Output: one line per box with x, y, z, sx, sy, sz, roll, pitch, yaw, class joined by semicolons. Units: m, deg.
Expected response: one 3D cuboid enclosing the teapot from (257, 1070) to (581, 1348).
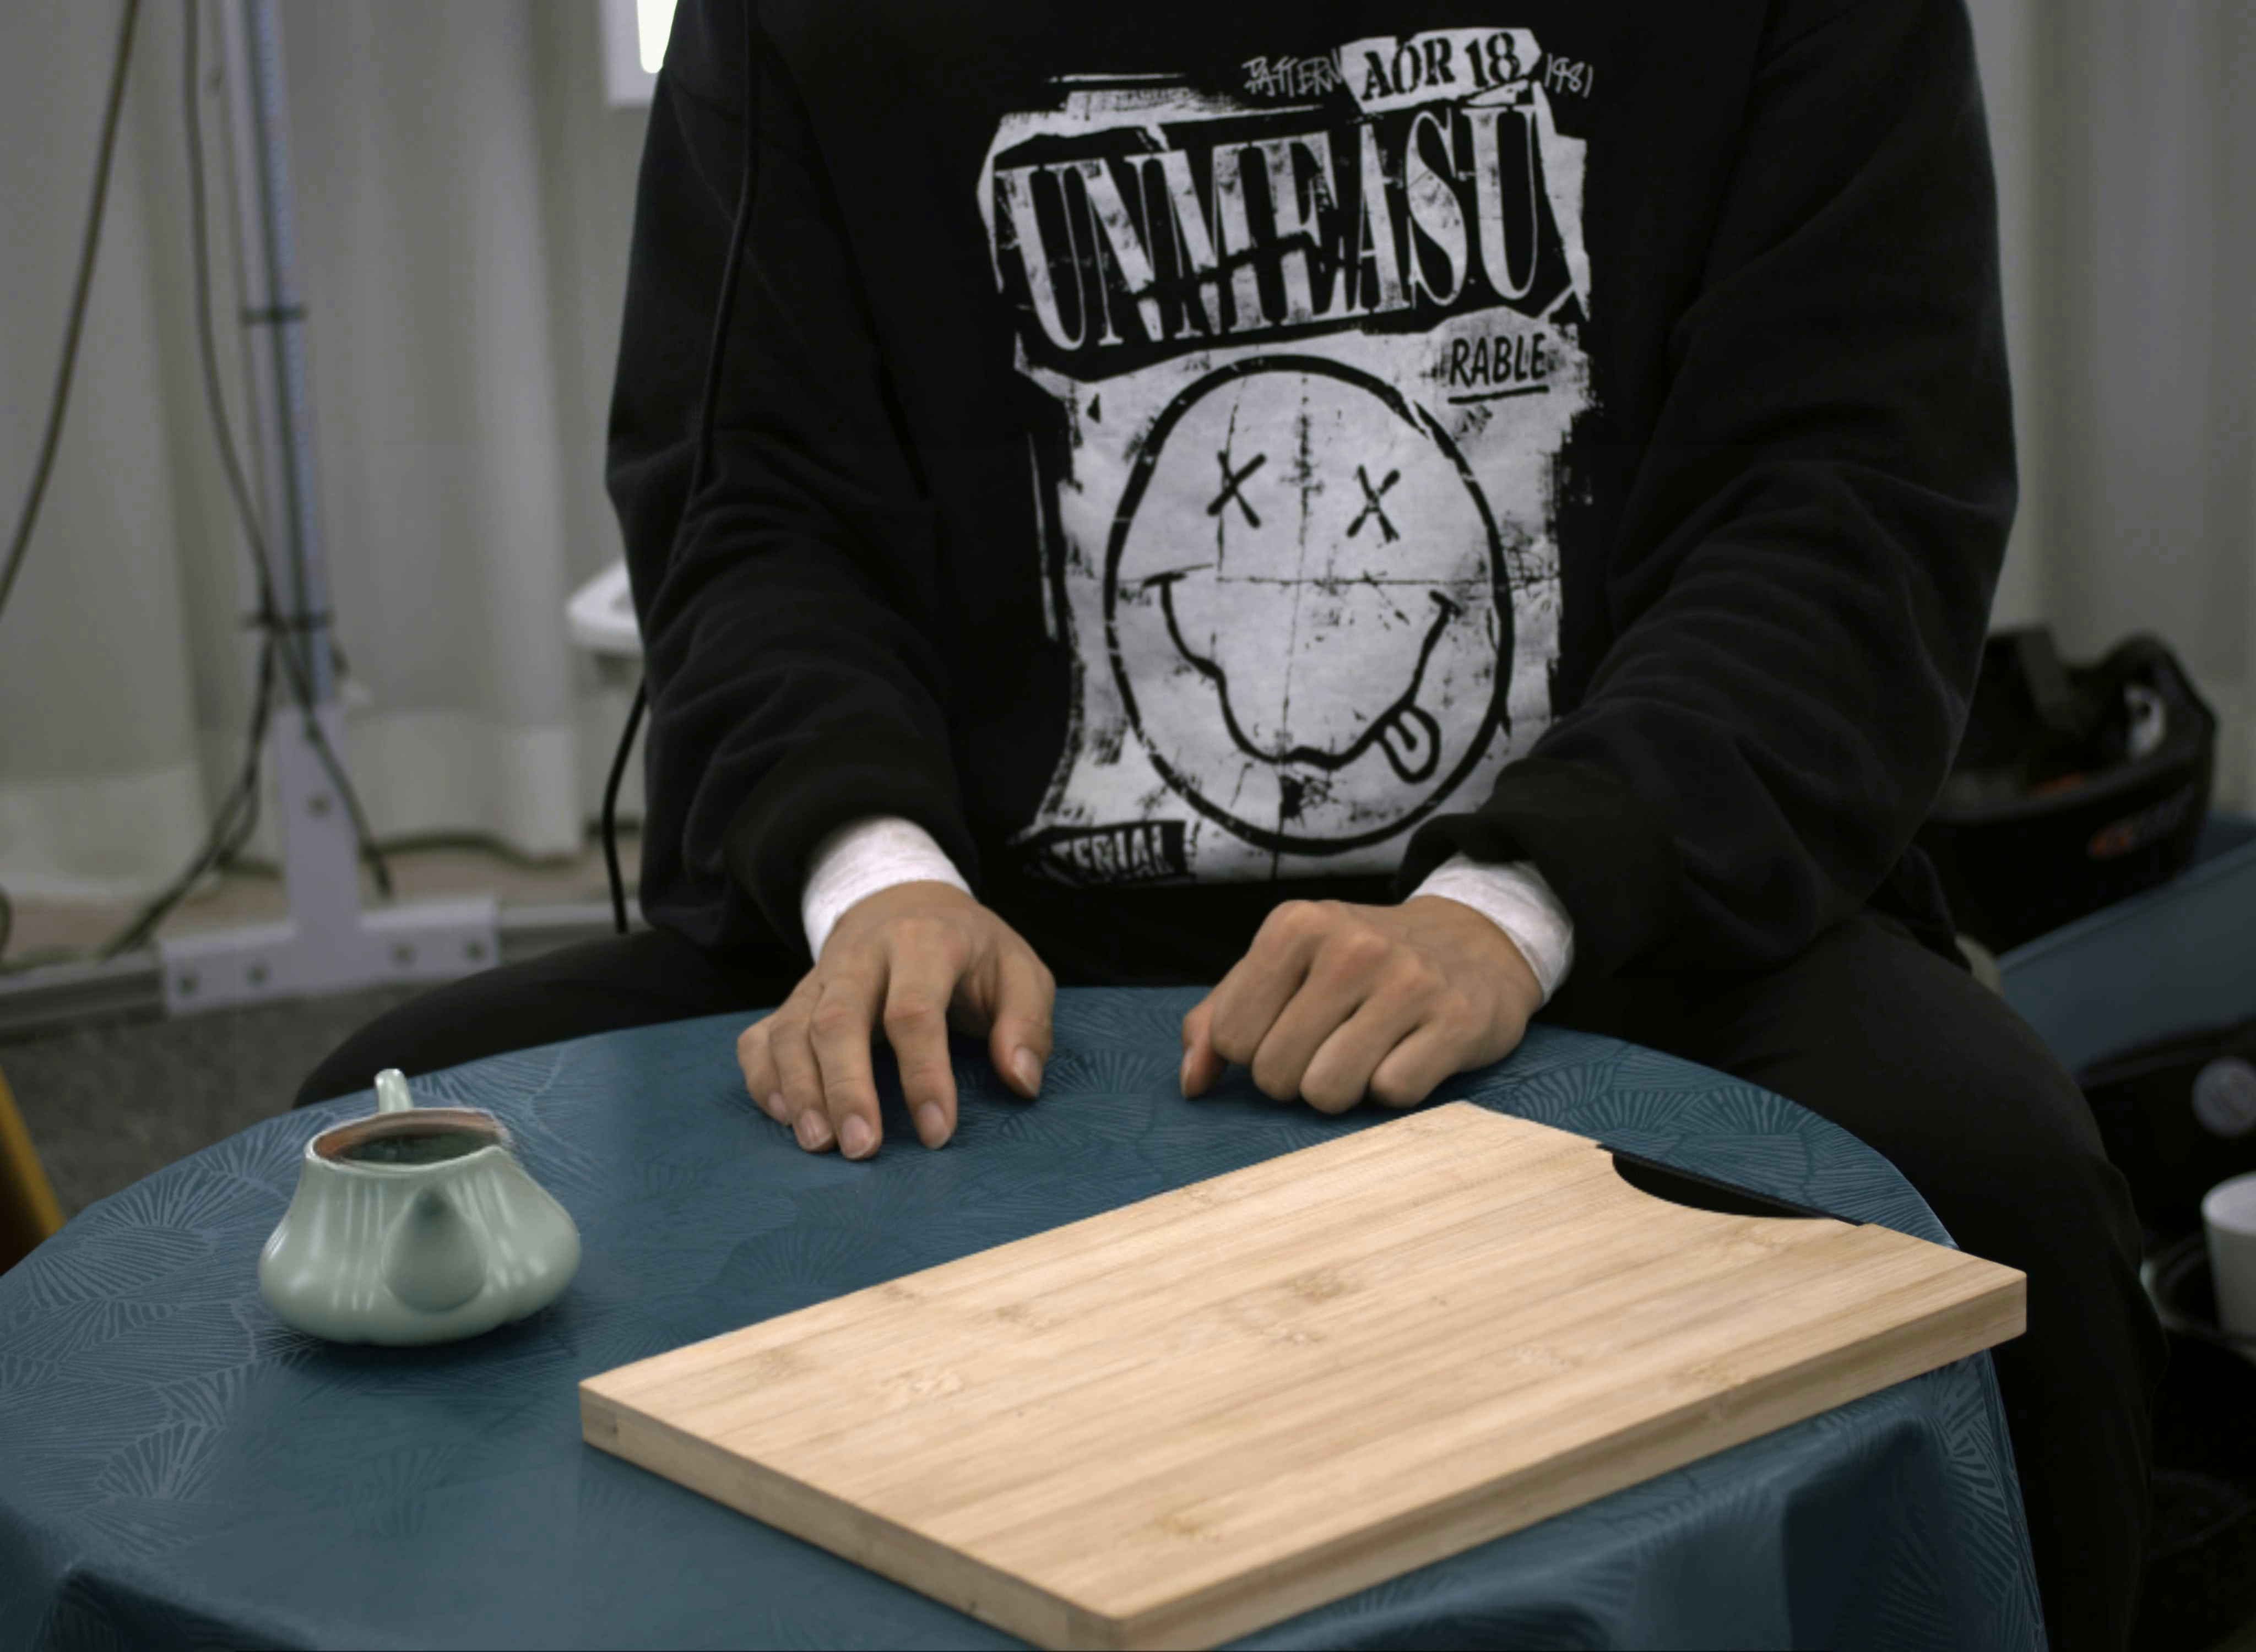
-0.213;0.117;1.630;0.096;0.061;0.138;-8;16;-14;teapot

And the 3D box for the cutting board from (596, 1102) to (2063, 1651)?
0.056;0.150;1.541;0.348;0.023;0.252;-15;19;-38;cutting board
